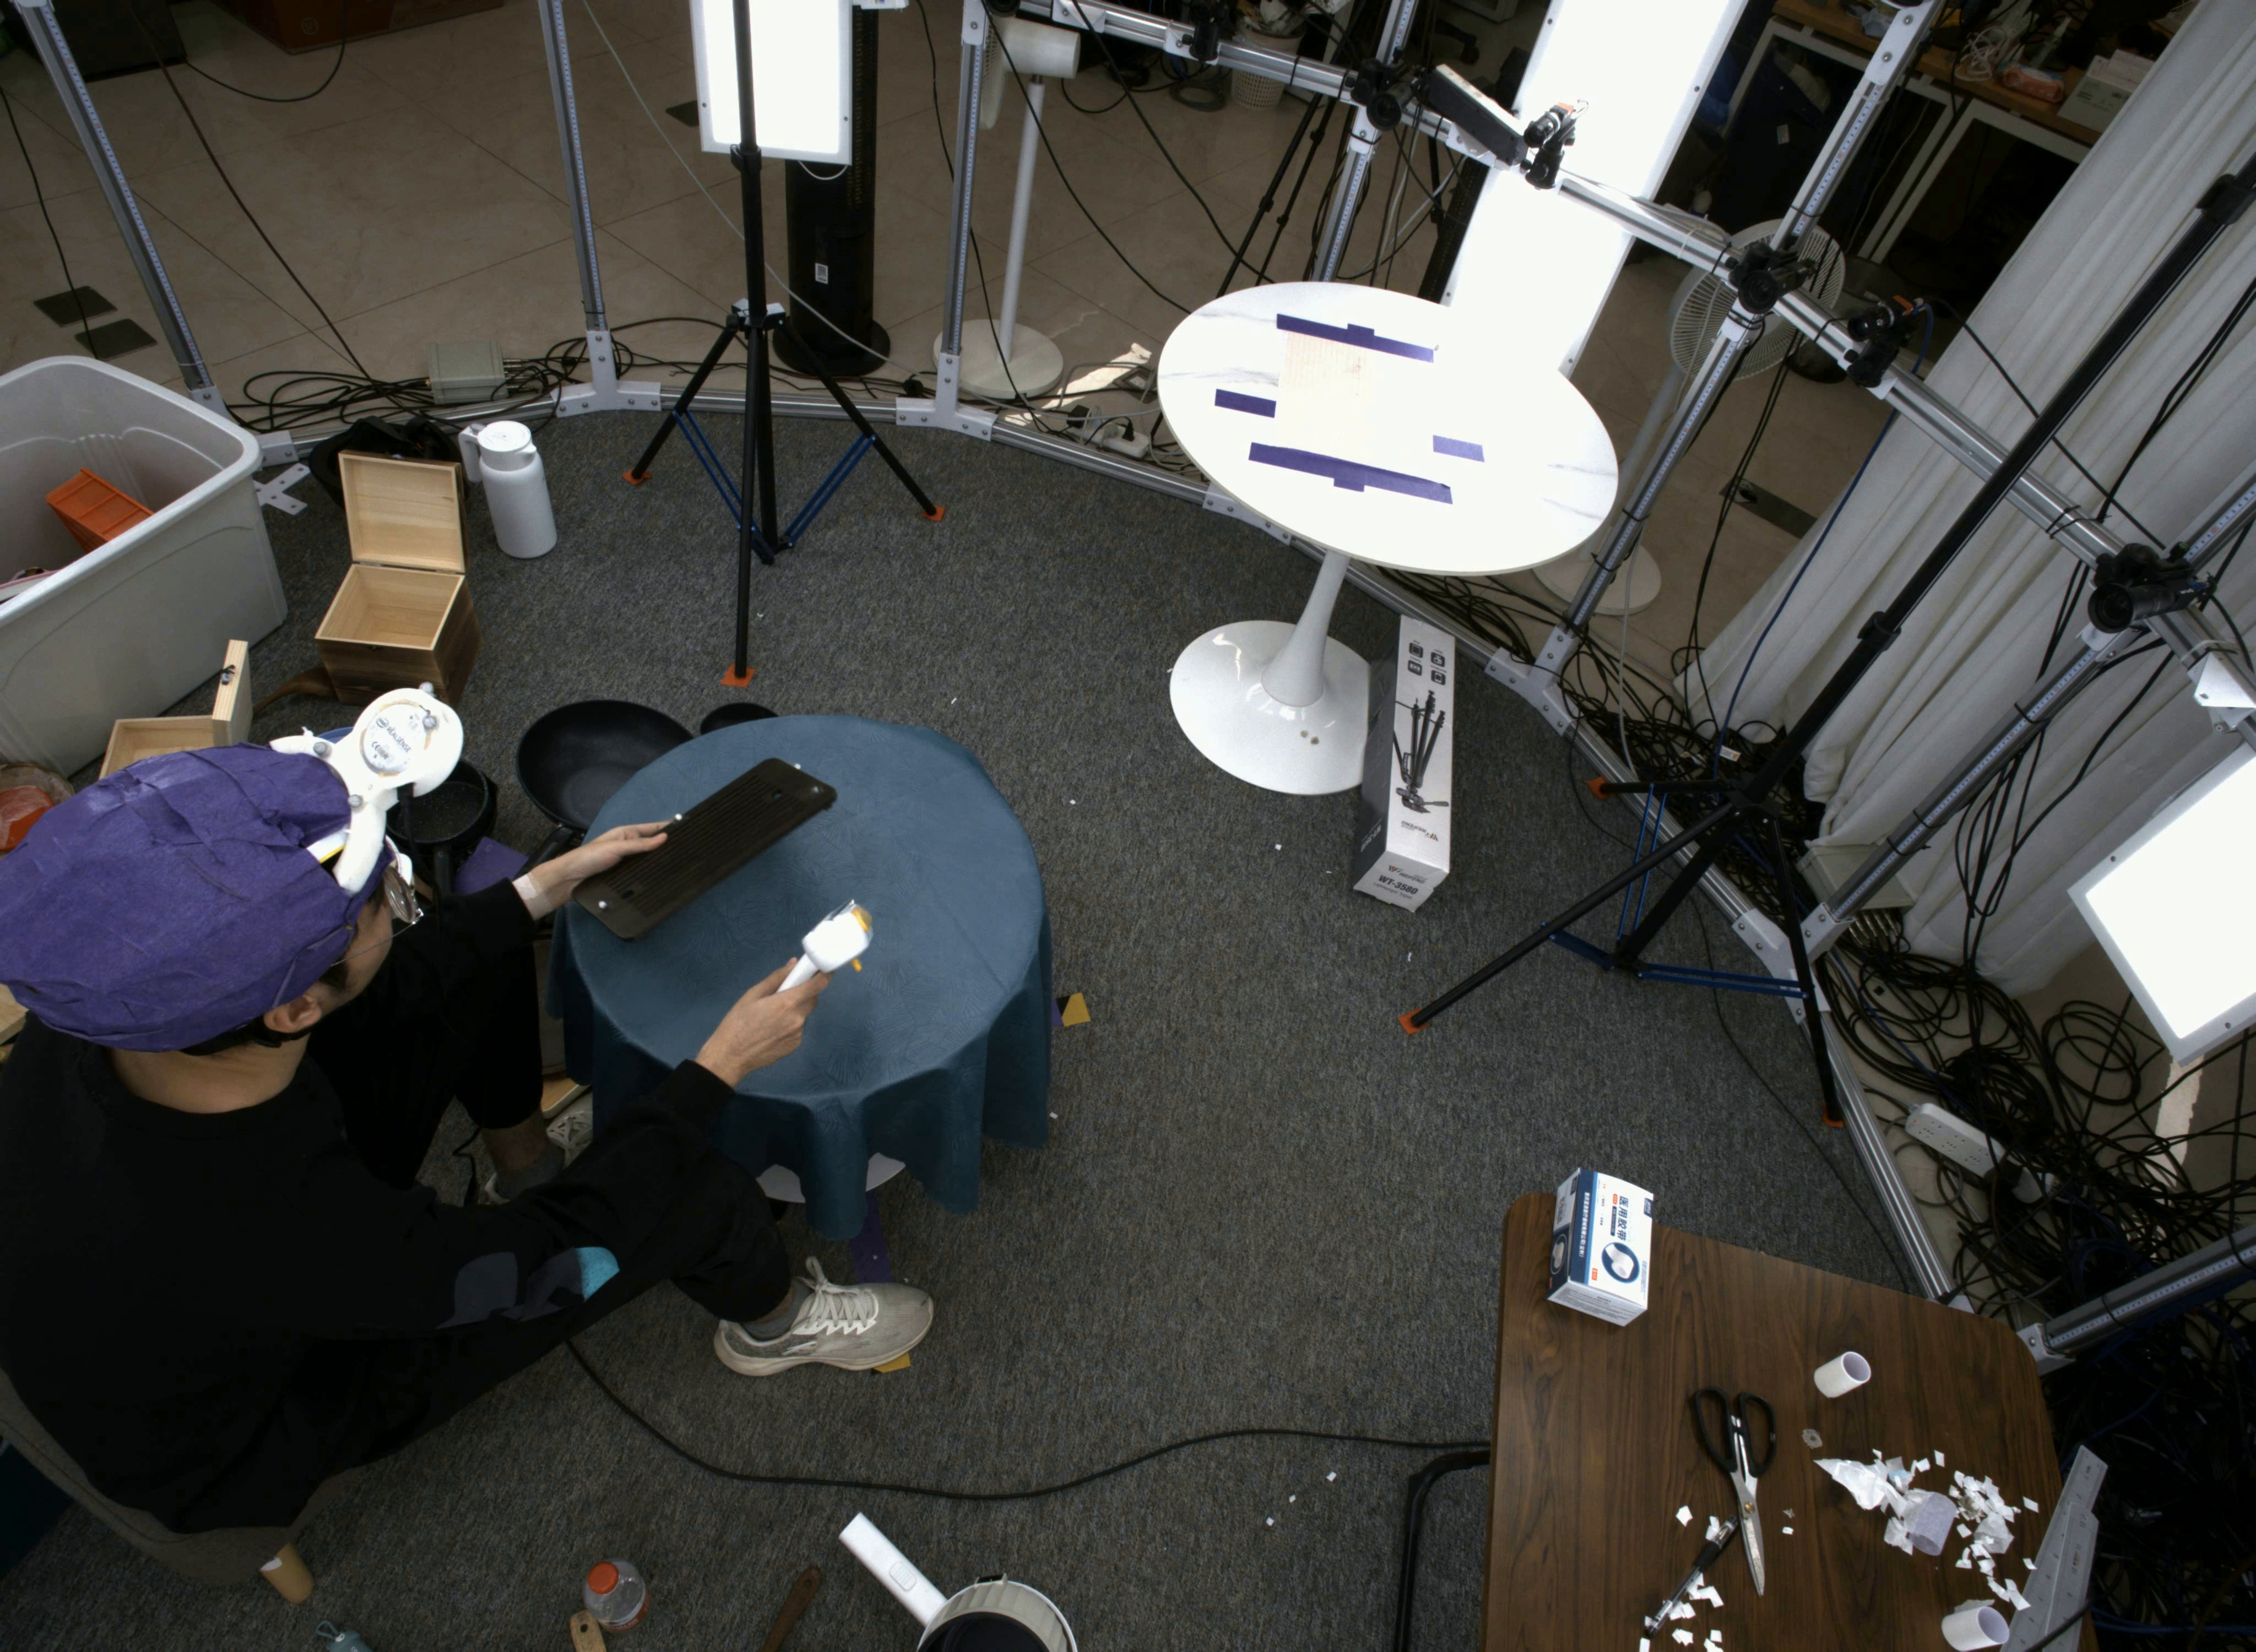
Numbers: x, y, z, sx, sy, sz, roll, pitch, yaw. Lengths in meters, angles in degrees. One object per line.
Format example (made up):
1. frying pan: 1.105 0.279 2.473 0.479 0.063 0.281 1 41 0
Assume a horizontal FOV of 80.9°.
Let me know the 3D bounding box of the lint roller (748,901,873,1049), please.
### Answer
1. lint roller: -0.365 0.165 1.459 0.192 0.189 0.075 -41 102 -4

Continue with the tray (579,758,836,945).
1. tray: -0.509 0.024 1.555 0.163 0.019 0.306 25 53 40
